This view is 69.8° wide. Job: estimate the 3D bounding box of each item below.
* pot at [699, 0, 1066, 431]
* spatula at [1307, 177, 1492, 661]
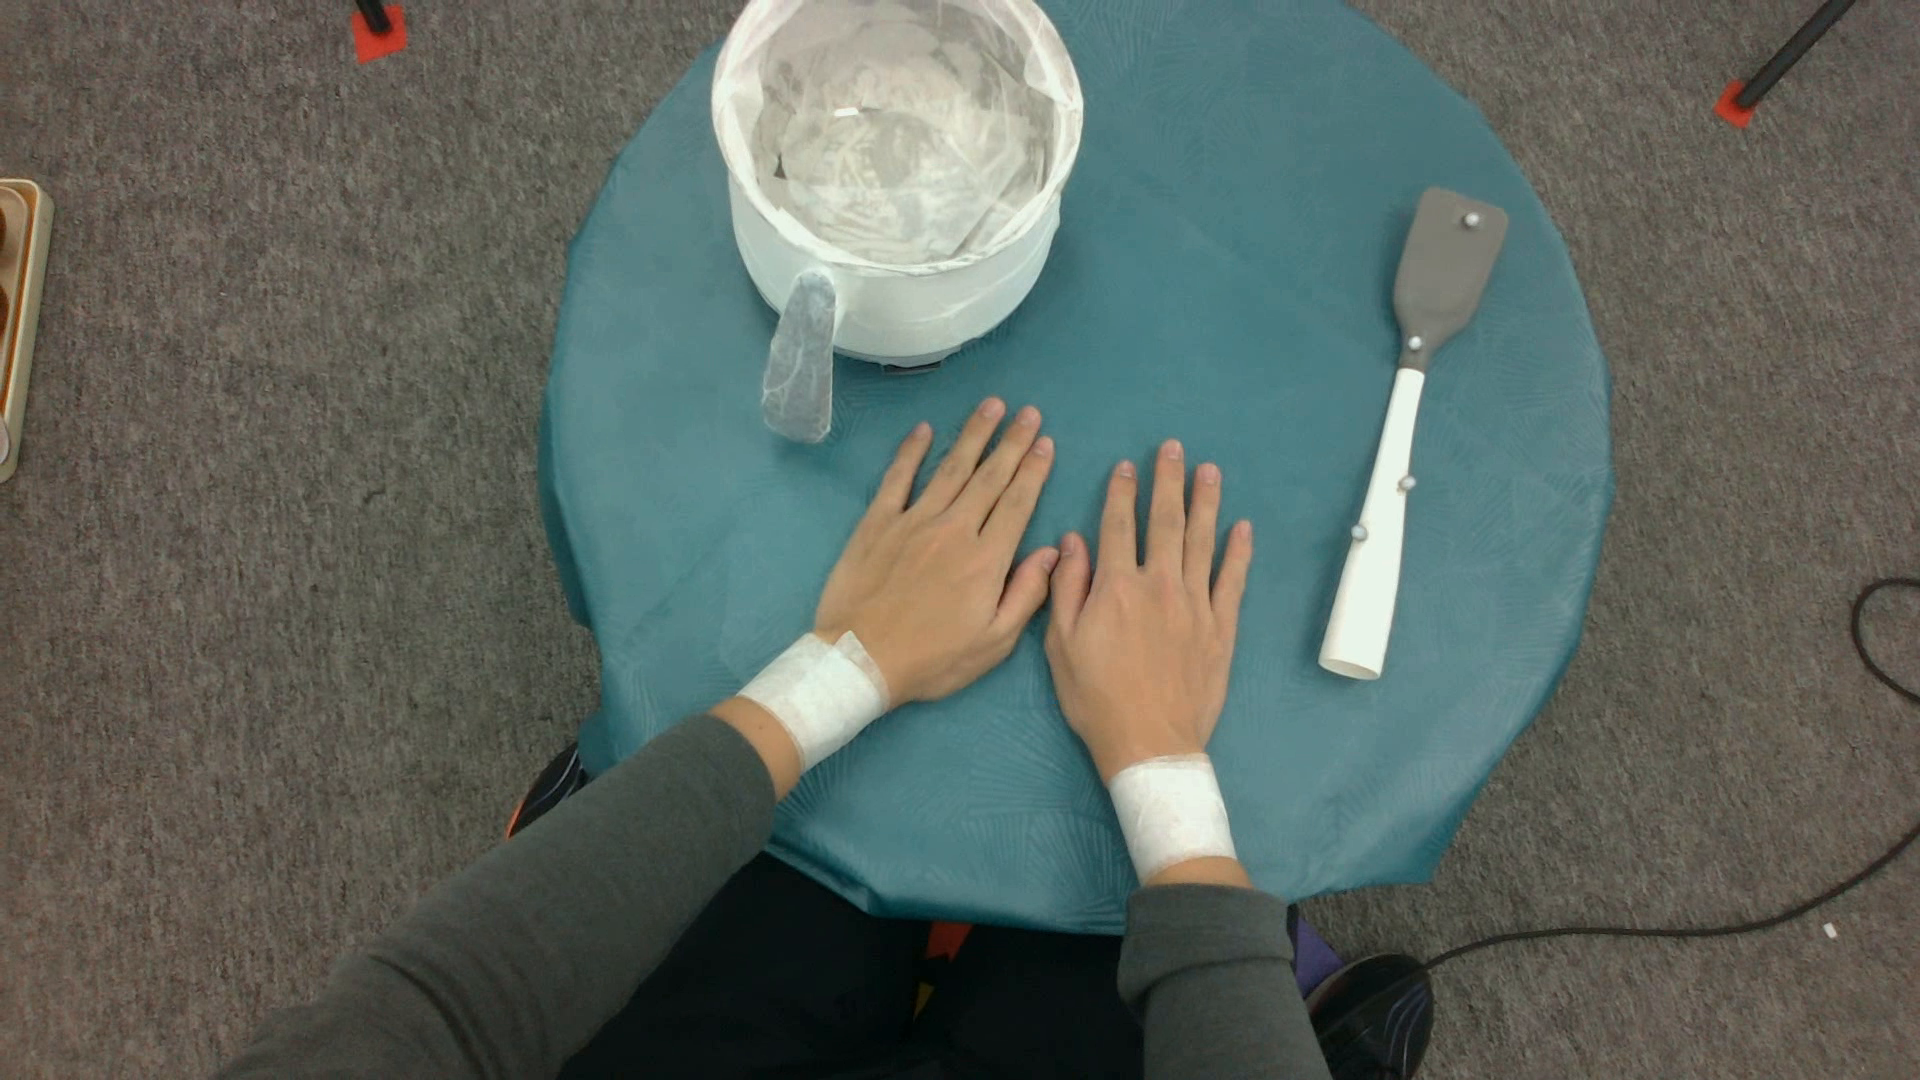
[{"bbox_3d":[-0.051,-0.173,0.716,0.179,0.136,0.234,21,75,1],"label":"pot"},{"bbox_3d":[0.241,-0.072,0.769,0.058,0.032,0.288,17,74,2],"label":"spatula"}]
